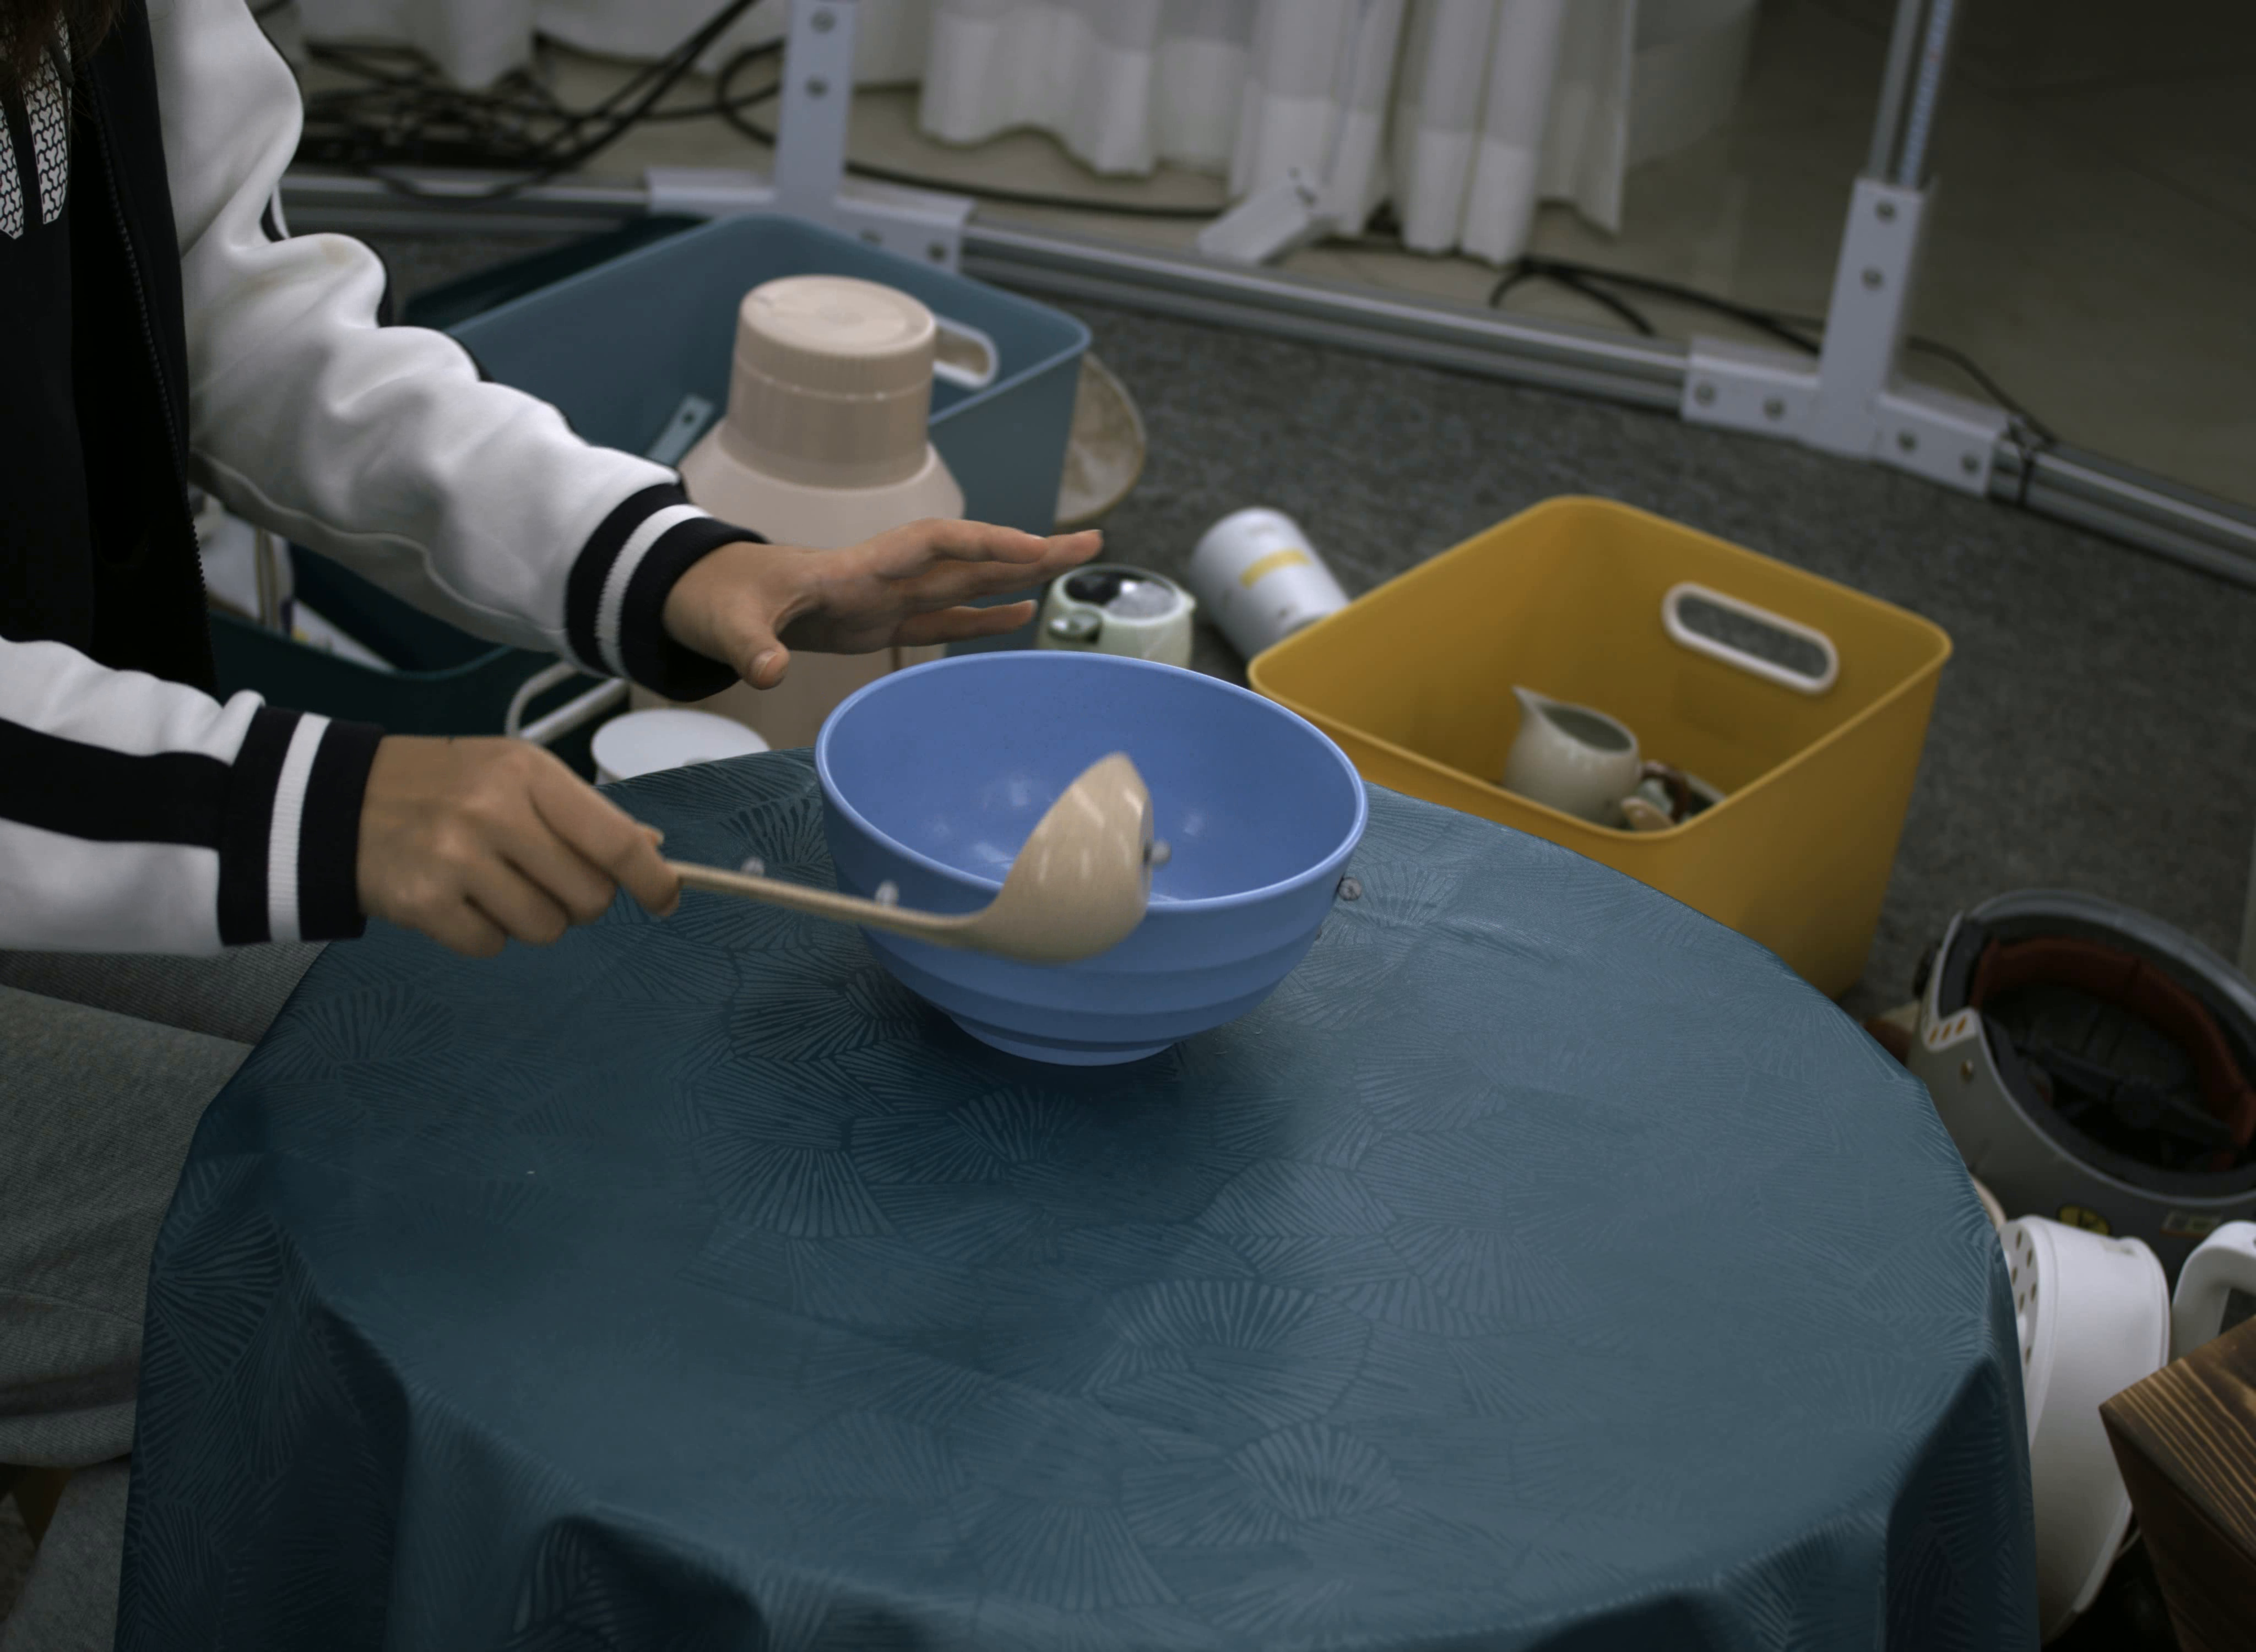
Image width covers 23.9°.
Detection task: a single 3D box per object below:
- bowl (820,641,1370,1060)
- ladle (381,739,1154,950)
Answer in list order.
[{"bbox_3d":[-0.018,0.020,1.893,0.196,0.095,0.197,8,27,-4],"label":"bowl"},{"bbox_3d":[-0.117,-0.008,1.757,0.254,0.072,0.073,8,67,9],"label":"ladle"}]
